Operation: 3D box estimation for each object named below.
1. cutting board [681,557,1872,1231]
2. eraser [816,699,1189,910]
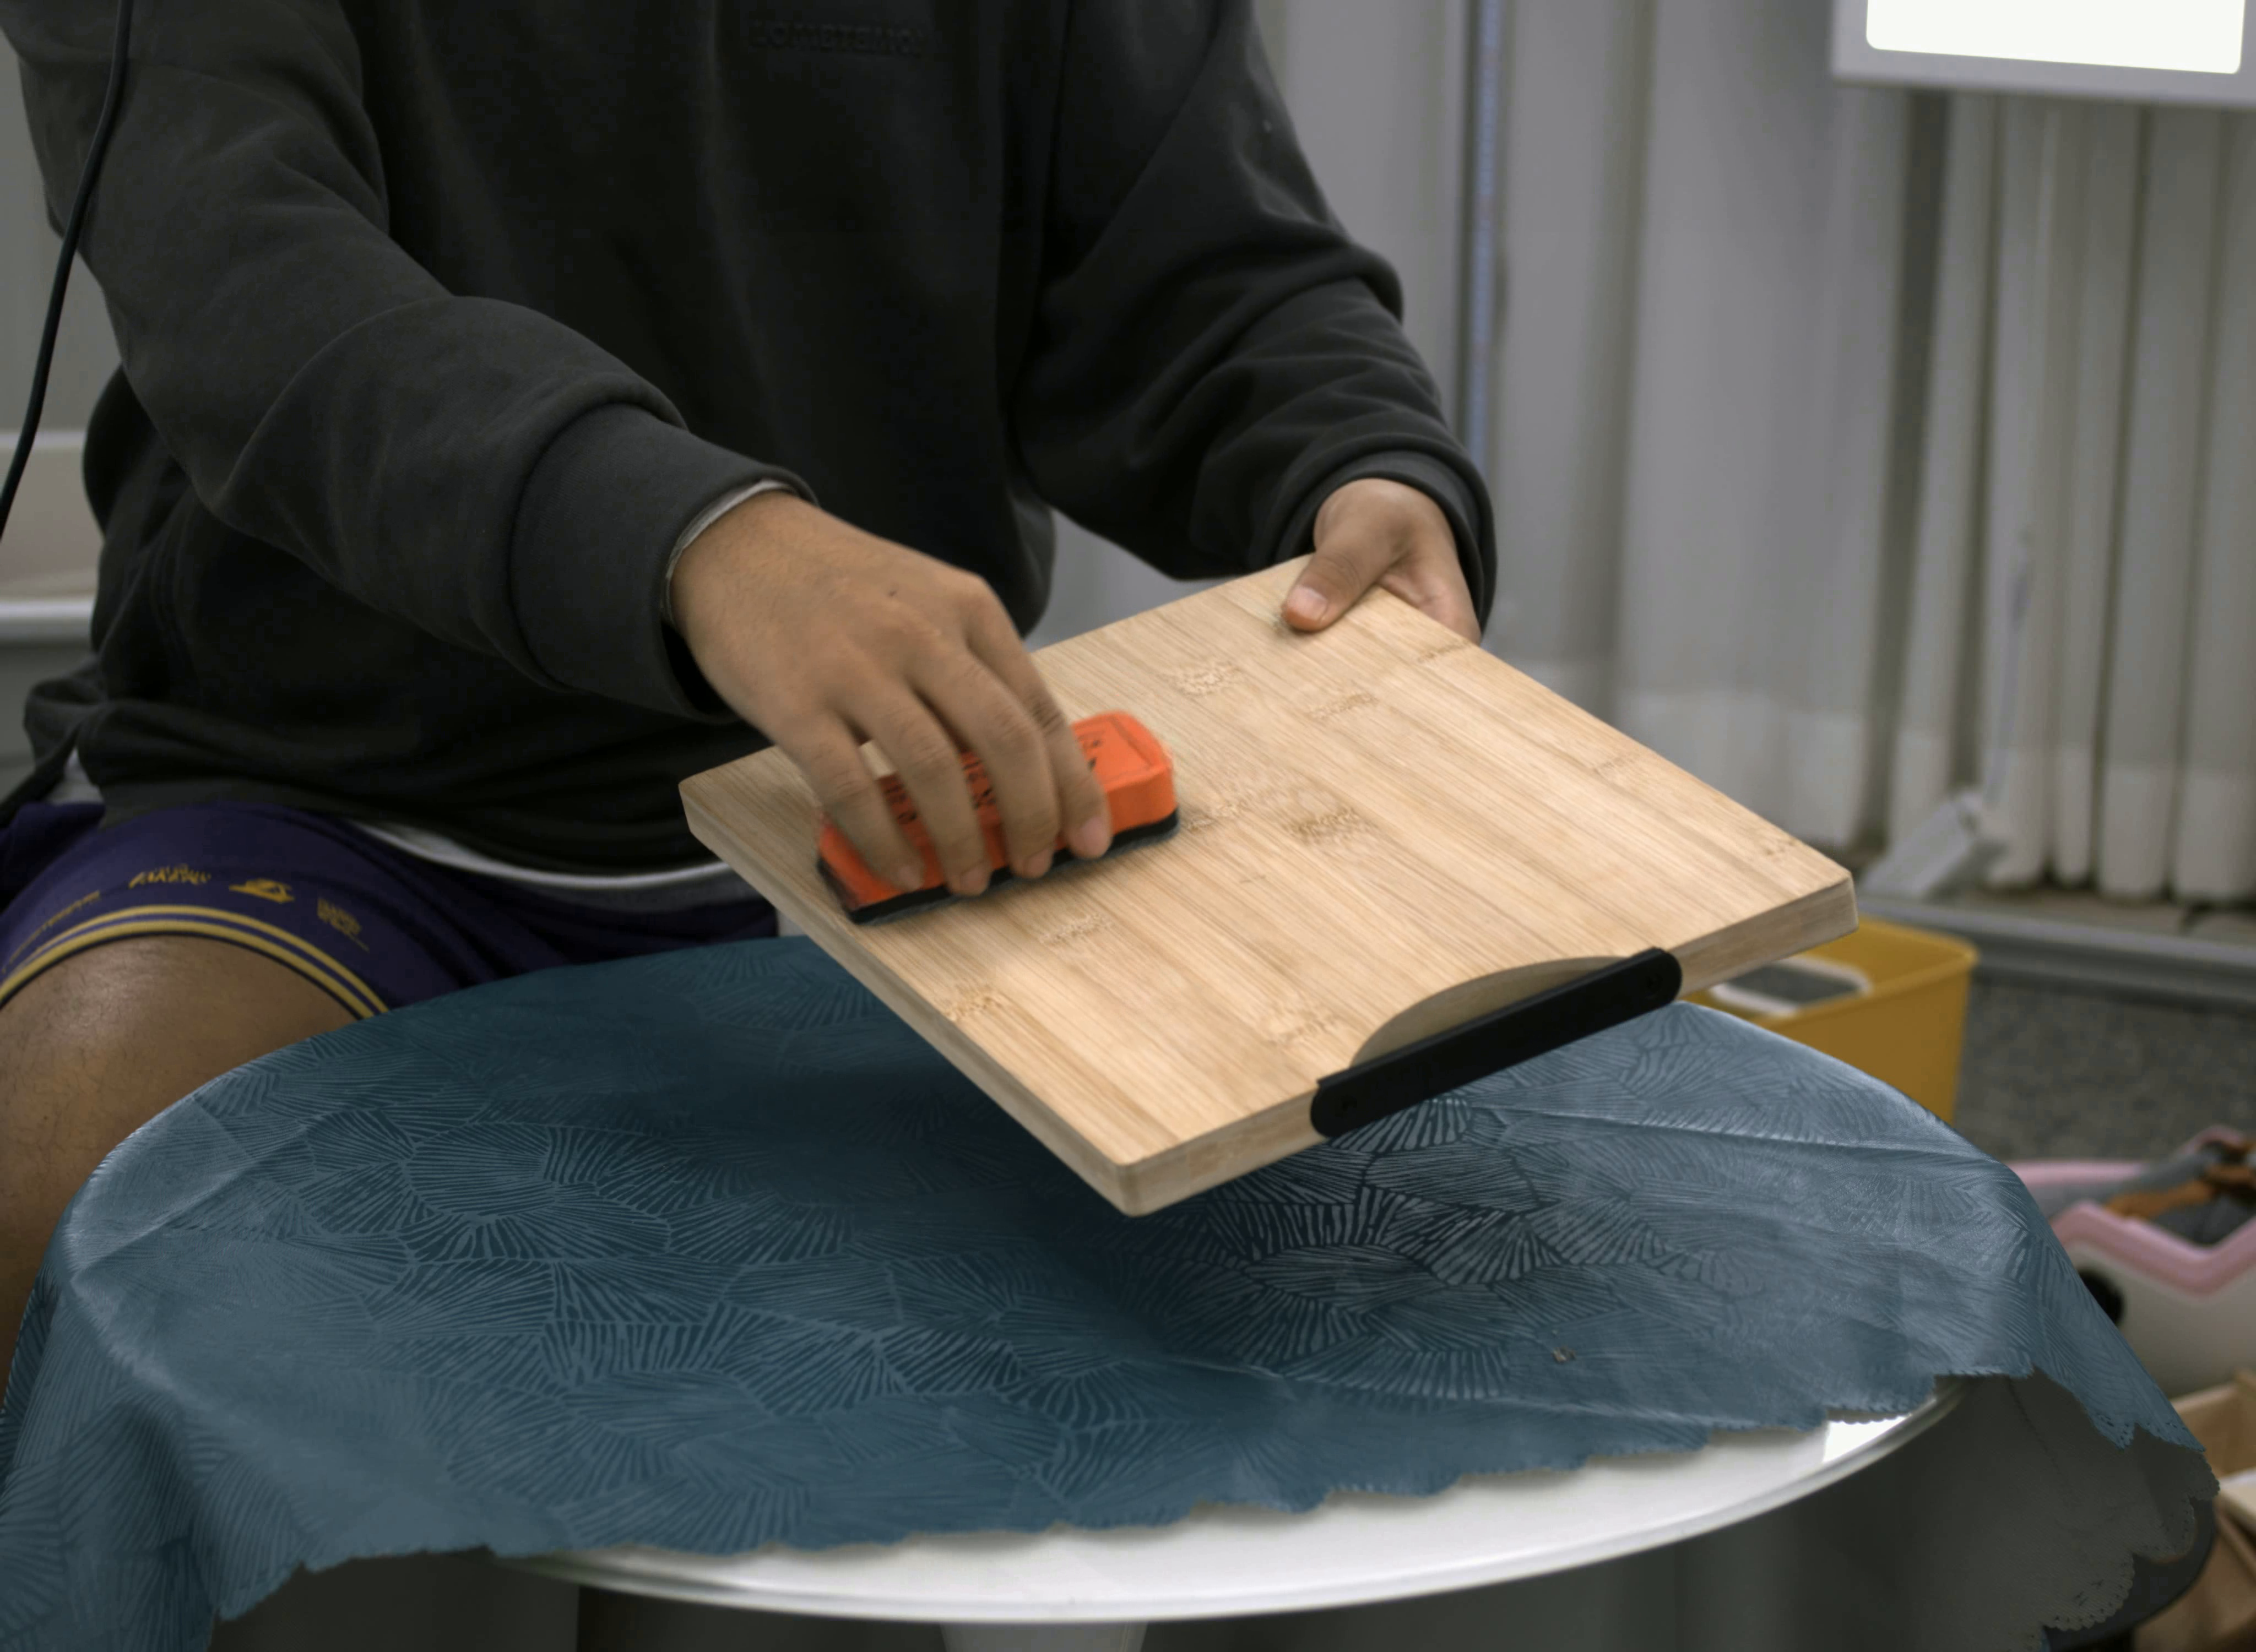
[{"bbox_3d":[0.034,0.009,1.607,0.251,0.024,0.344,-21,27,-20],"label":"cutting board"},{"bbox_3d":[-0.039,-0.007,1.620,0.108,0.023,0.058,-16,26,-11],"label":"eraser"}]
